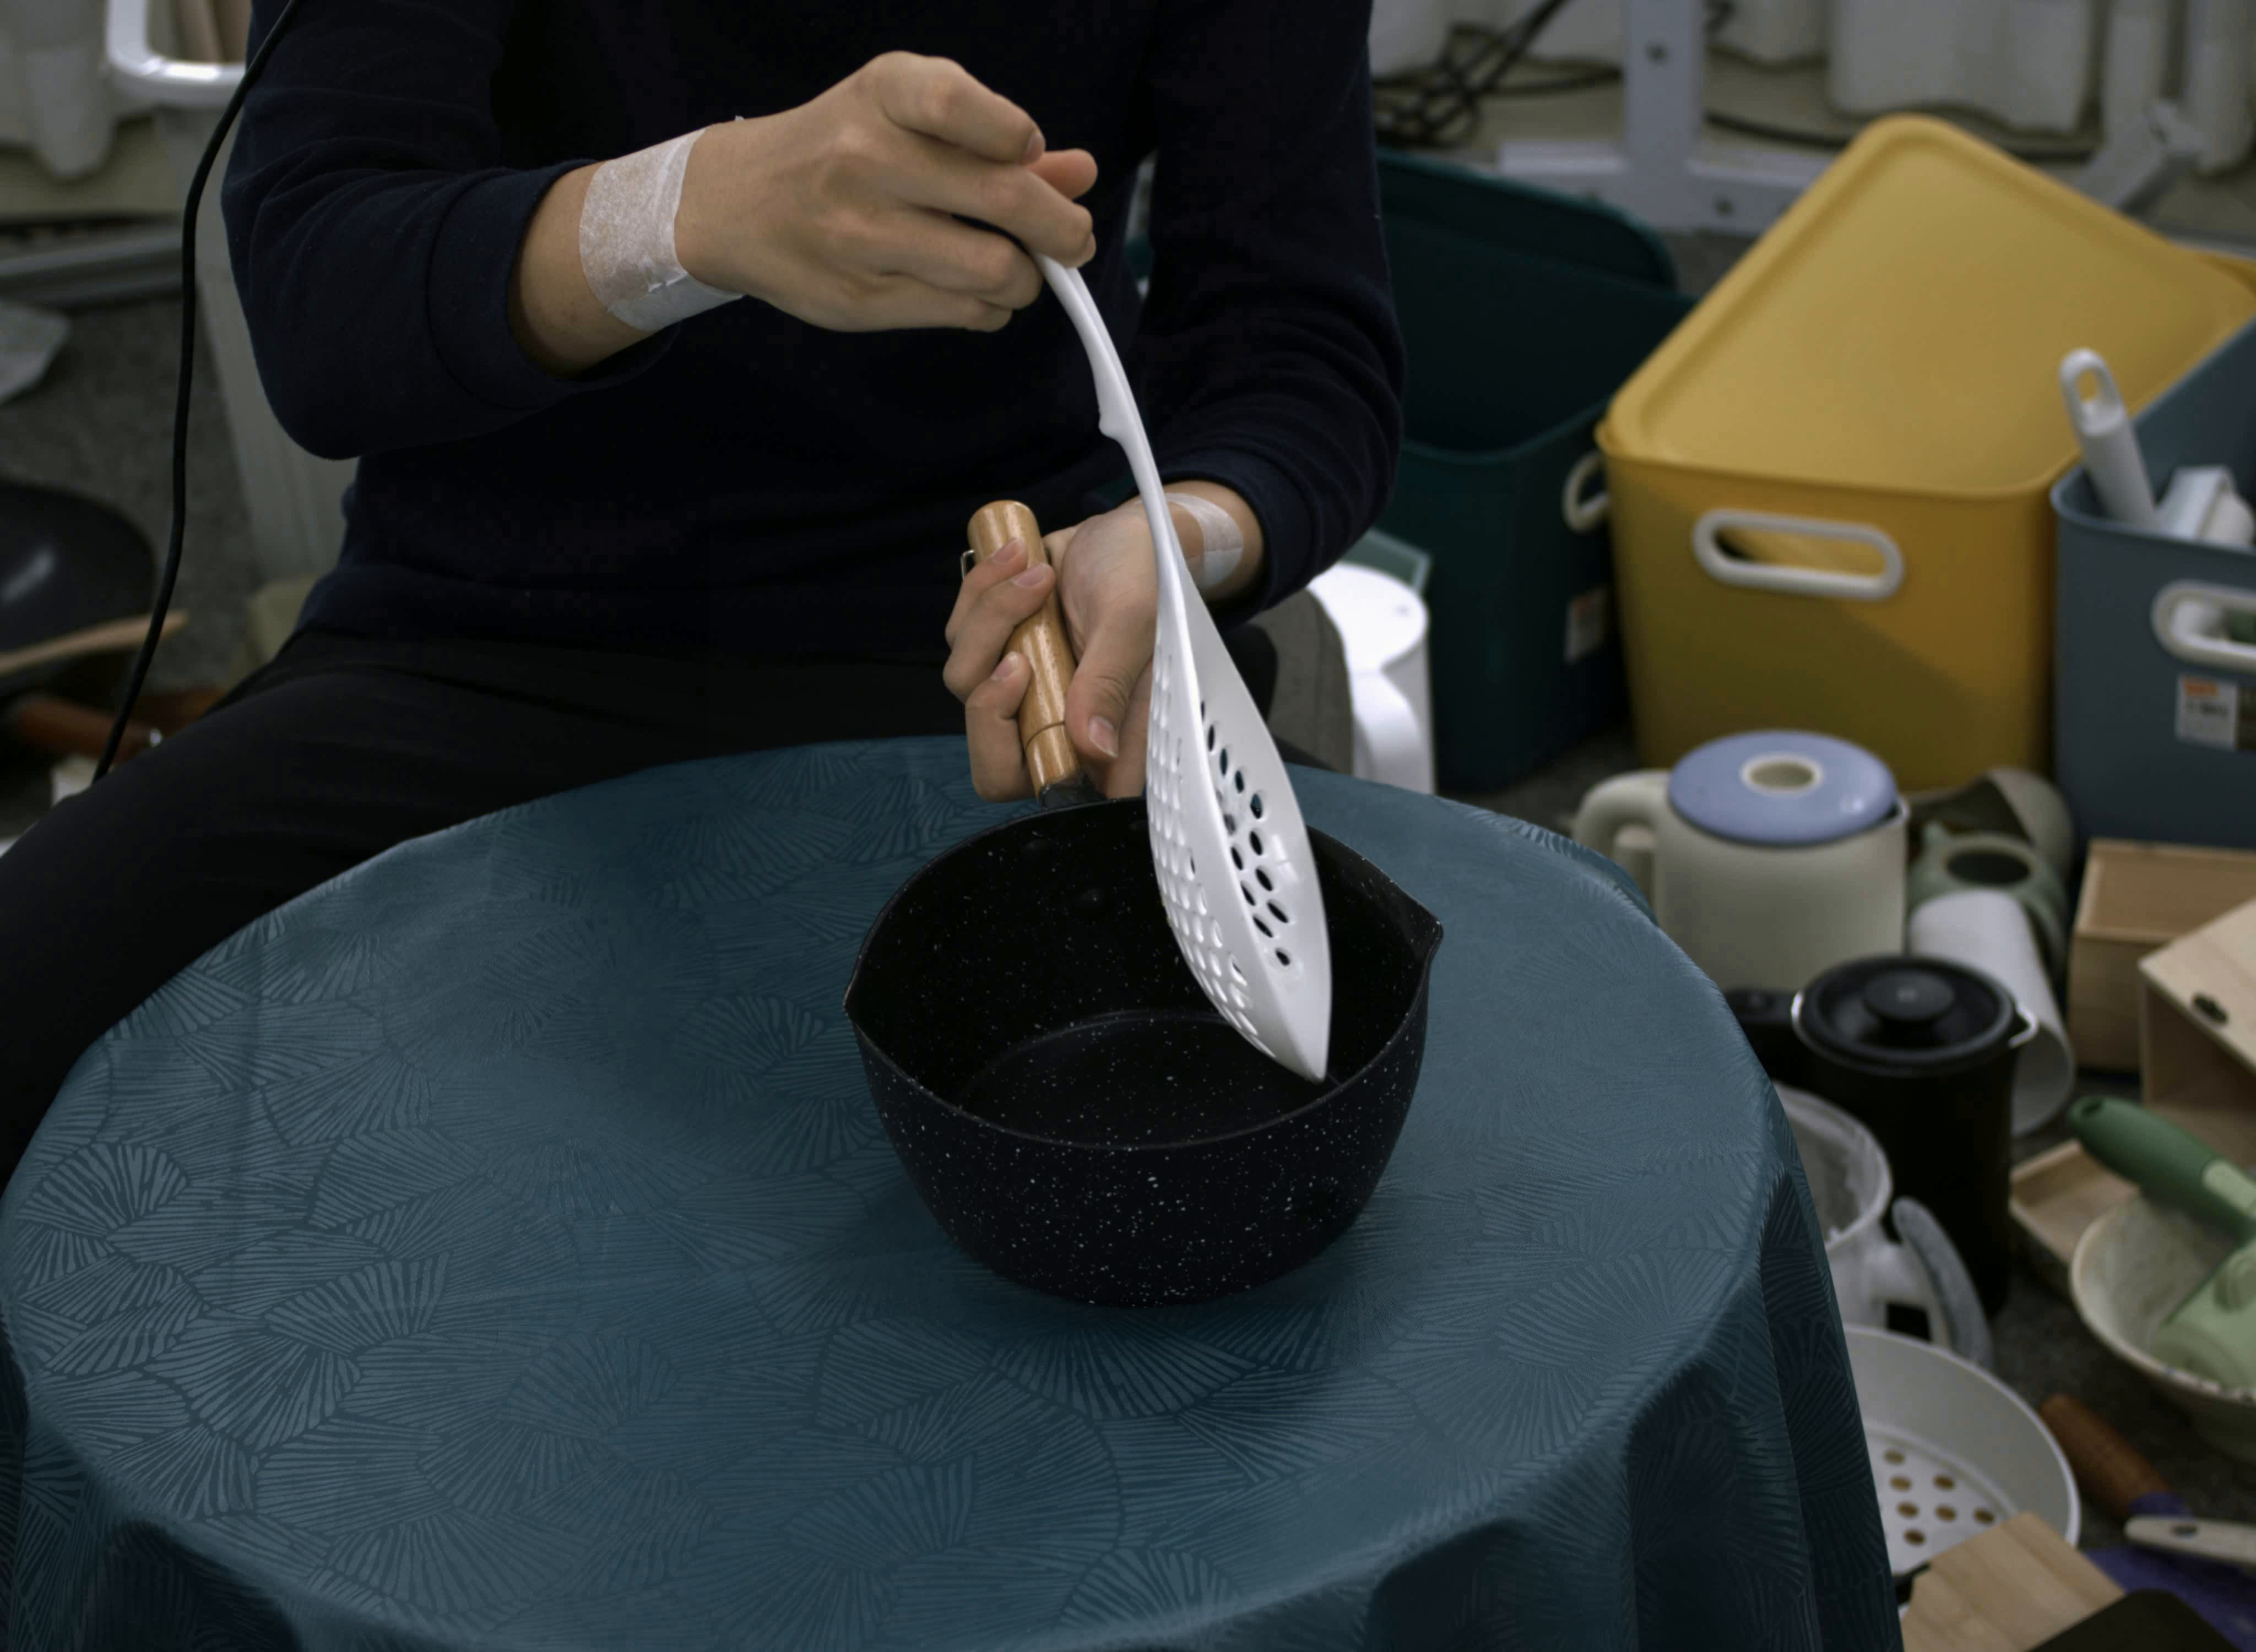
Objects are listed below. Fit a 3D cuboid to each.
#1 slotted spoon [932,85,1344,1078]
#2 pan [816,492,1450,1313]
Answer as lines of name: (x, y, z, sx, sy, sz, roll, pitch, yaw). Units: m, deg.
slotted spoon: (0.006, -0.076, 1.762, 0.050, 0.345, 0.139, -10, 25, 10)
pan: (-0.012, 0.023, 1.893, 0.207, 0.107, 0.348, -10, 38, -9)
